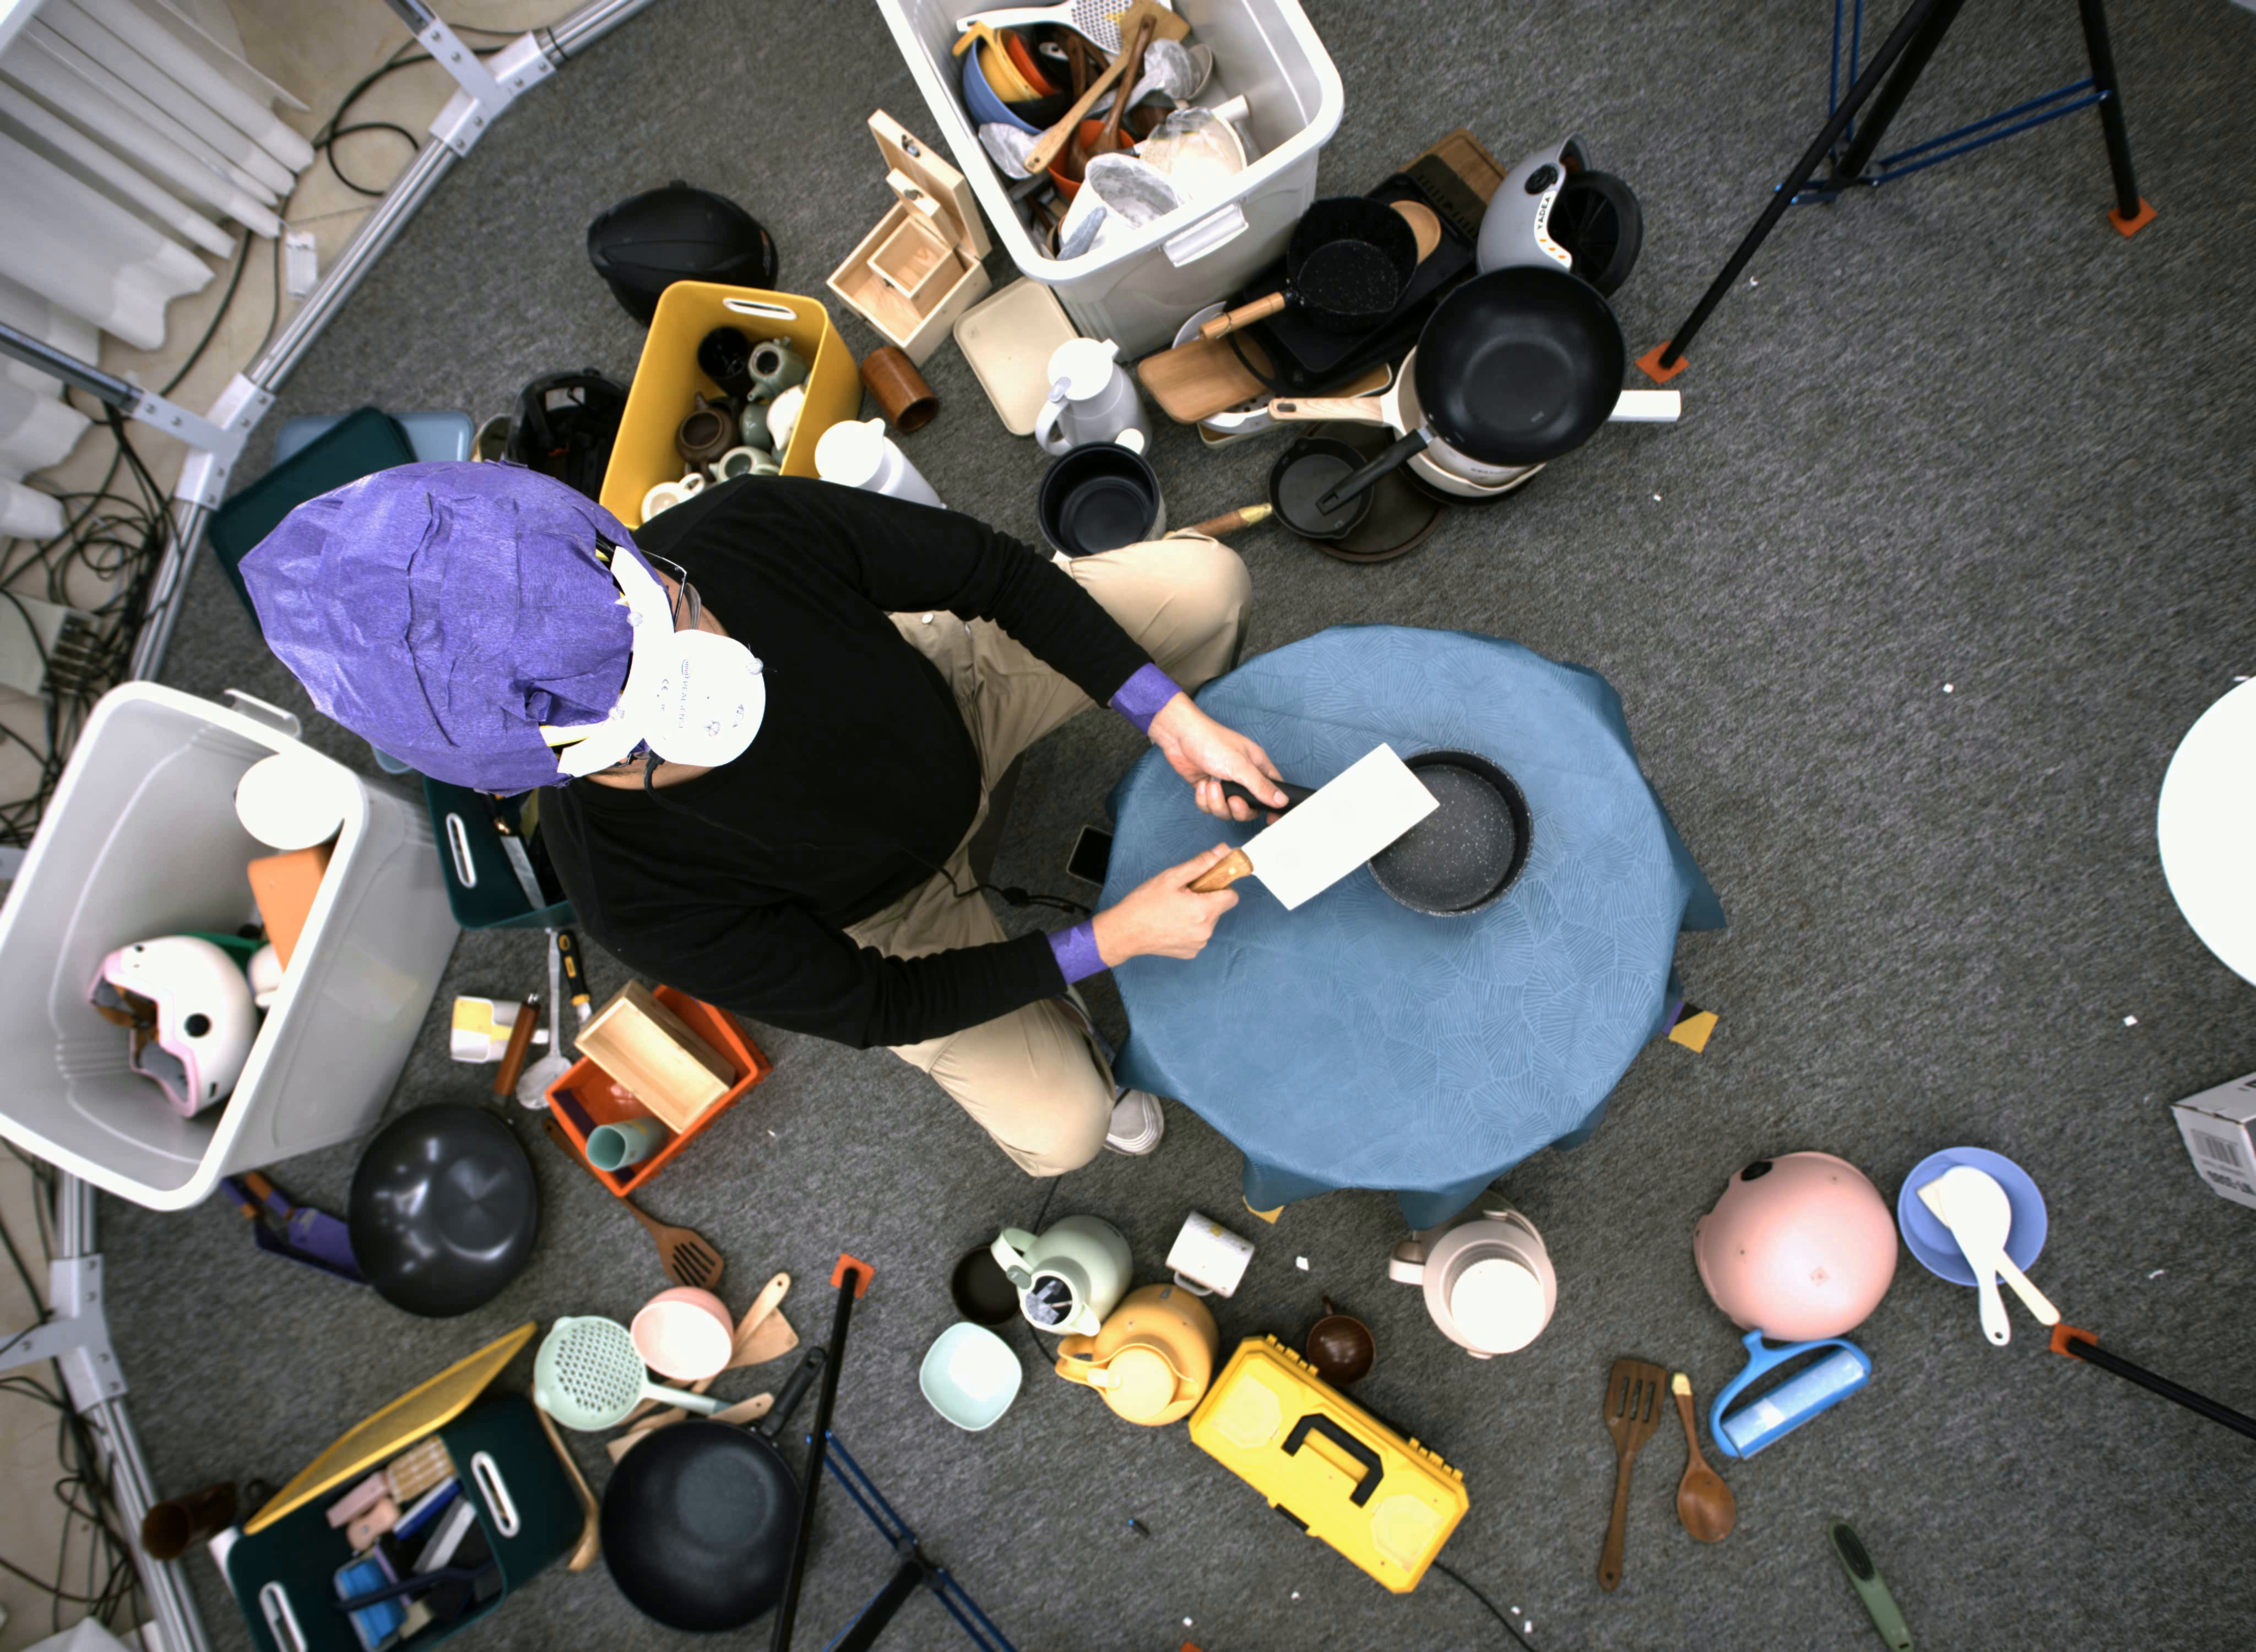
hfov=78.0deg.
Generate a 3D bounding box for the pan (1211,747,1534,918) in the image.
[{"bbox_3d":[0.247,-0.012,1.421,0.329,0.086,0.171,15,89,8],"label":"pan"}]

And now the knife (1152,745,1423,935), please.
[{"bbox_3d":[0.161,0.033,1.390,0.311,0.020,0.093,-38,111,25],"label":"knife"}]
